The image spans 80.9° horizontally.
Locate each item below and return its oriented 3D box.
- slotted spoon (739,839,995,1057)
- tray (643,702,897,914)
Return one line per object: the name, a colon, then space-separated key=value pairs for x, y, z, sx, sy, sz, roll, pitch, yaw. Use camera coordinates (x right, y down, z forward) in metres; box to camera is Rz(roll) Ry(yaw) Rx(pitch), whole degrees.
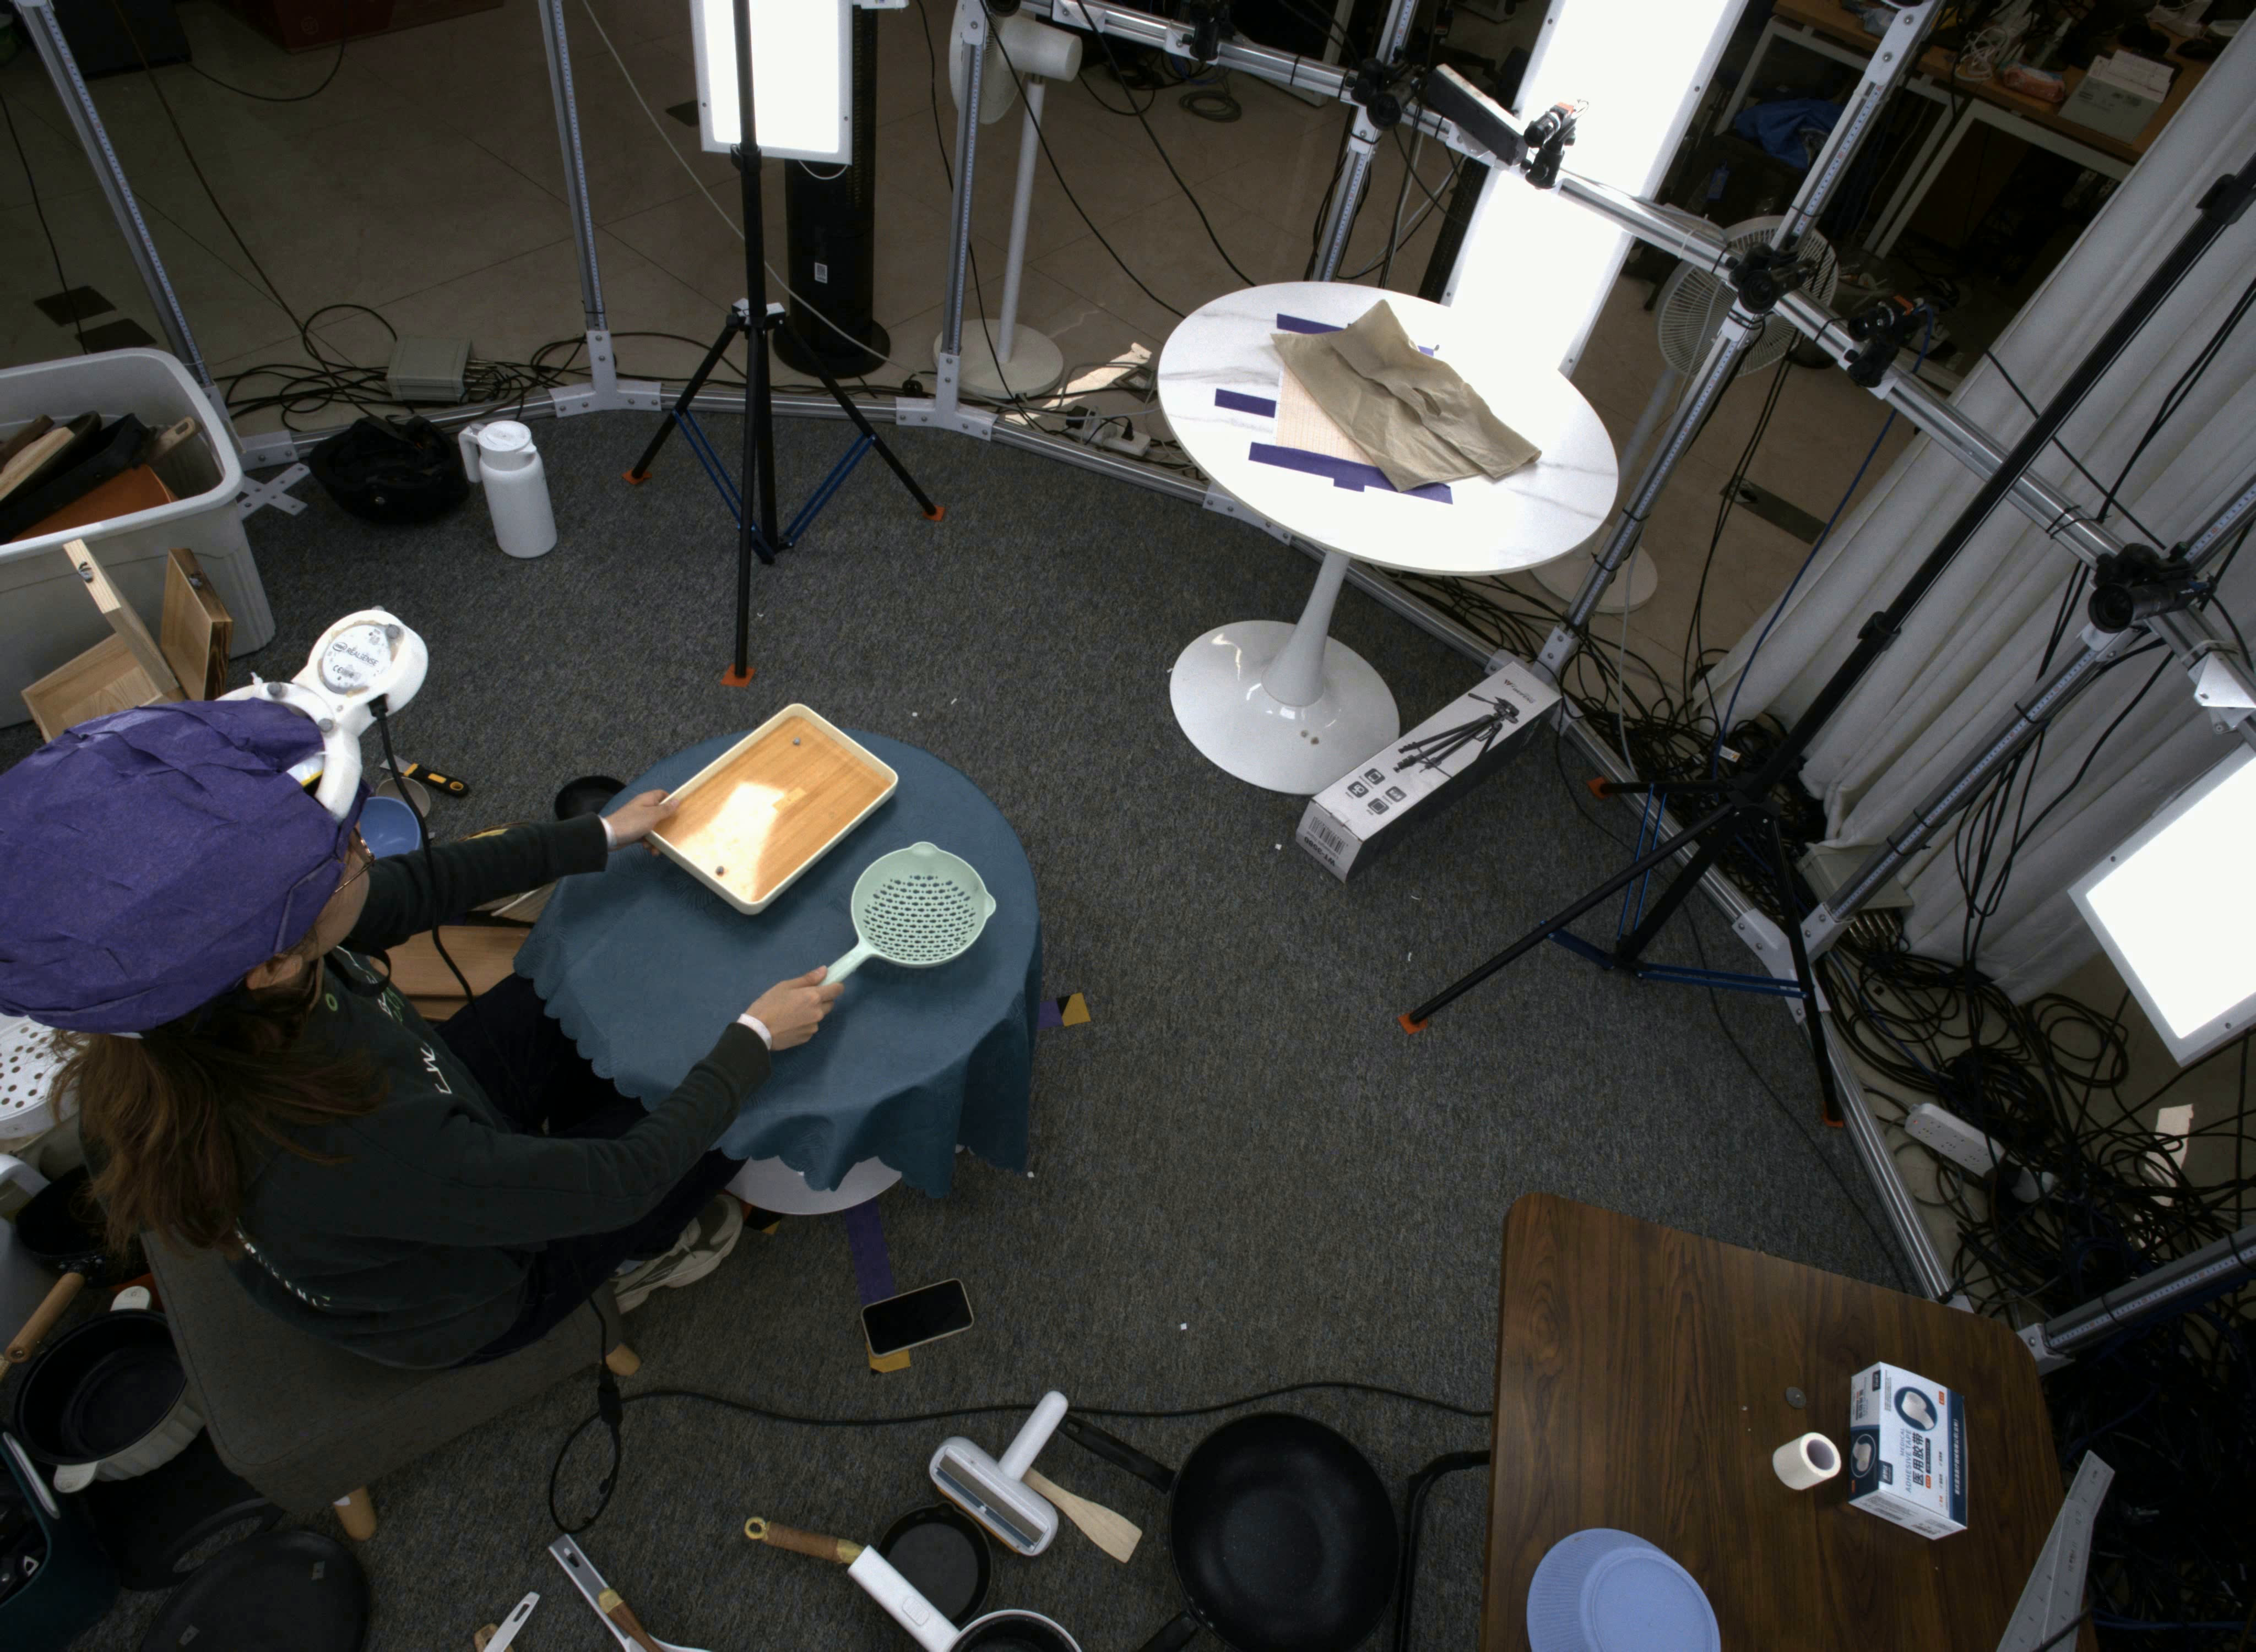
slotted spoon: x=-0.324 y=0.154 z=1.576 sx=0.166 sy=0.077 sz=0.360 roll=40 pitch=50 yaw=16
tray: x=-0.461 y=-0.032 z=1.685 sx=0.189 sy=0.028 sz=0.299 roll=37 pitch=49 yaw=6
